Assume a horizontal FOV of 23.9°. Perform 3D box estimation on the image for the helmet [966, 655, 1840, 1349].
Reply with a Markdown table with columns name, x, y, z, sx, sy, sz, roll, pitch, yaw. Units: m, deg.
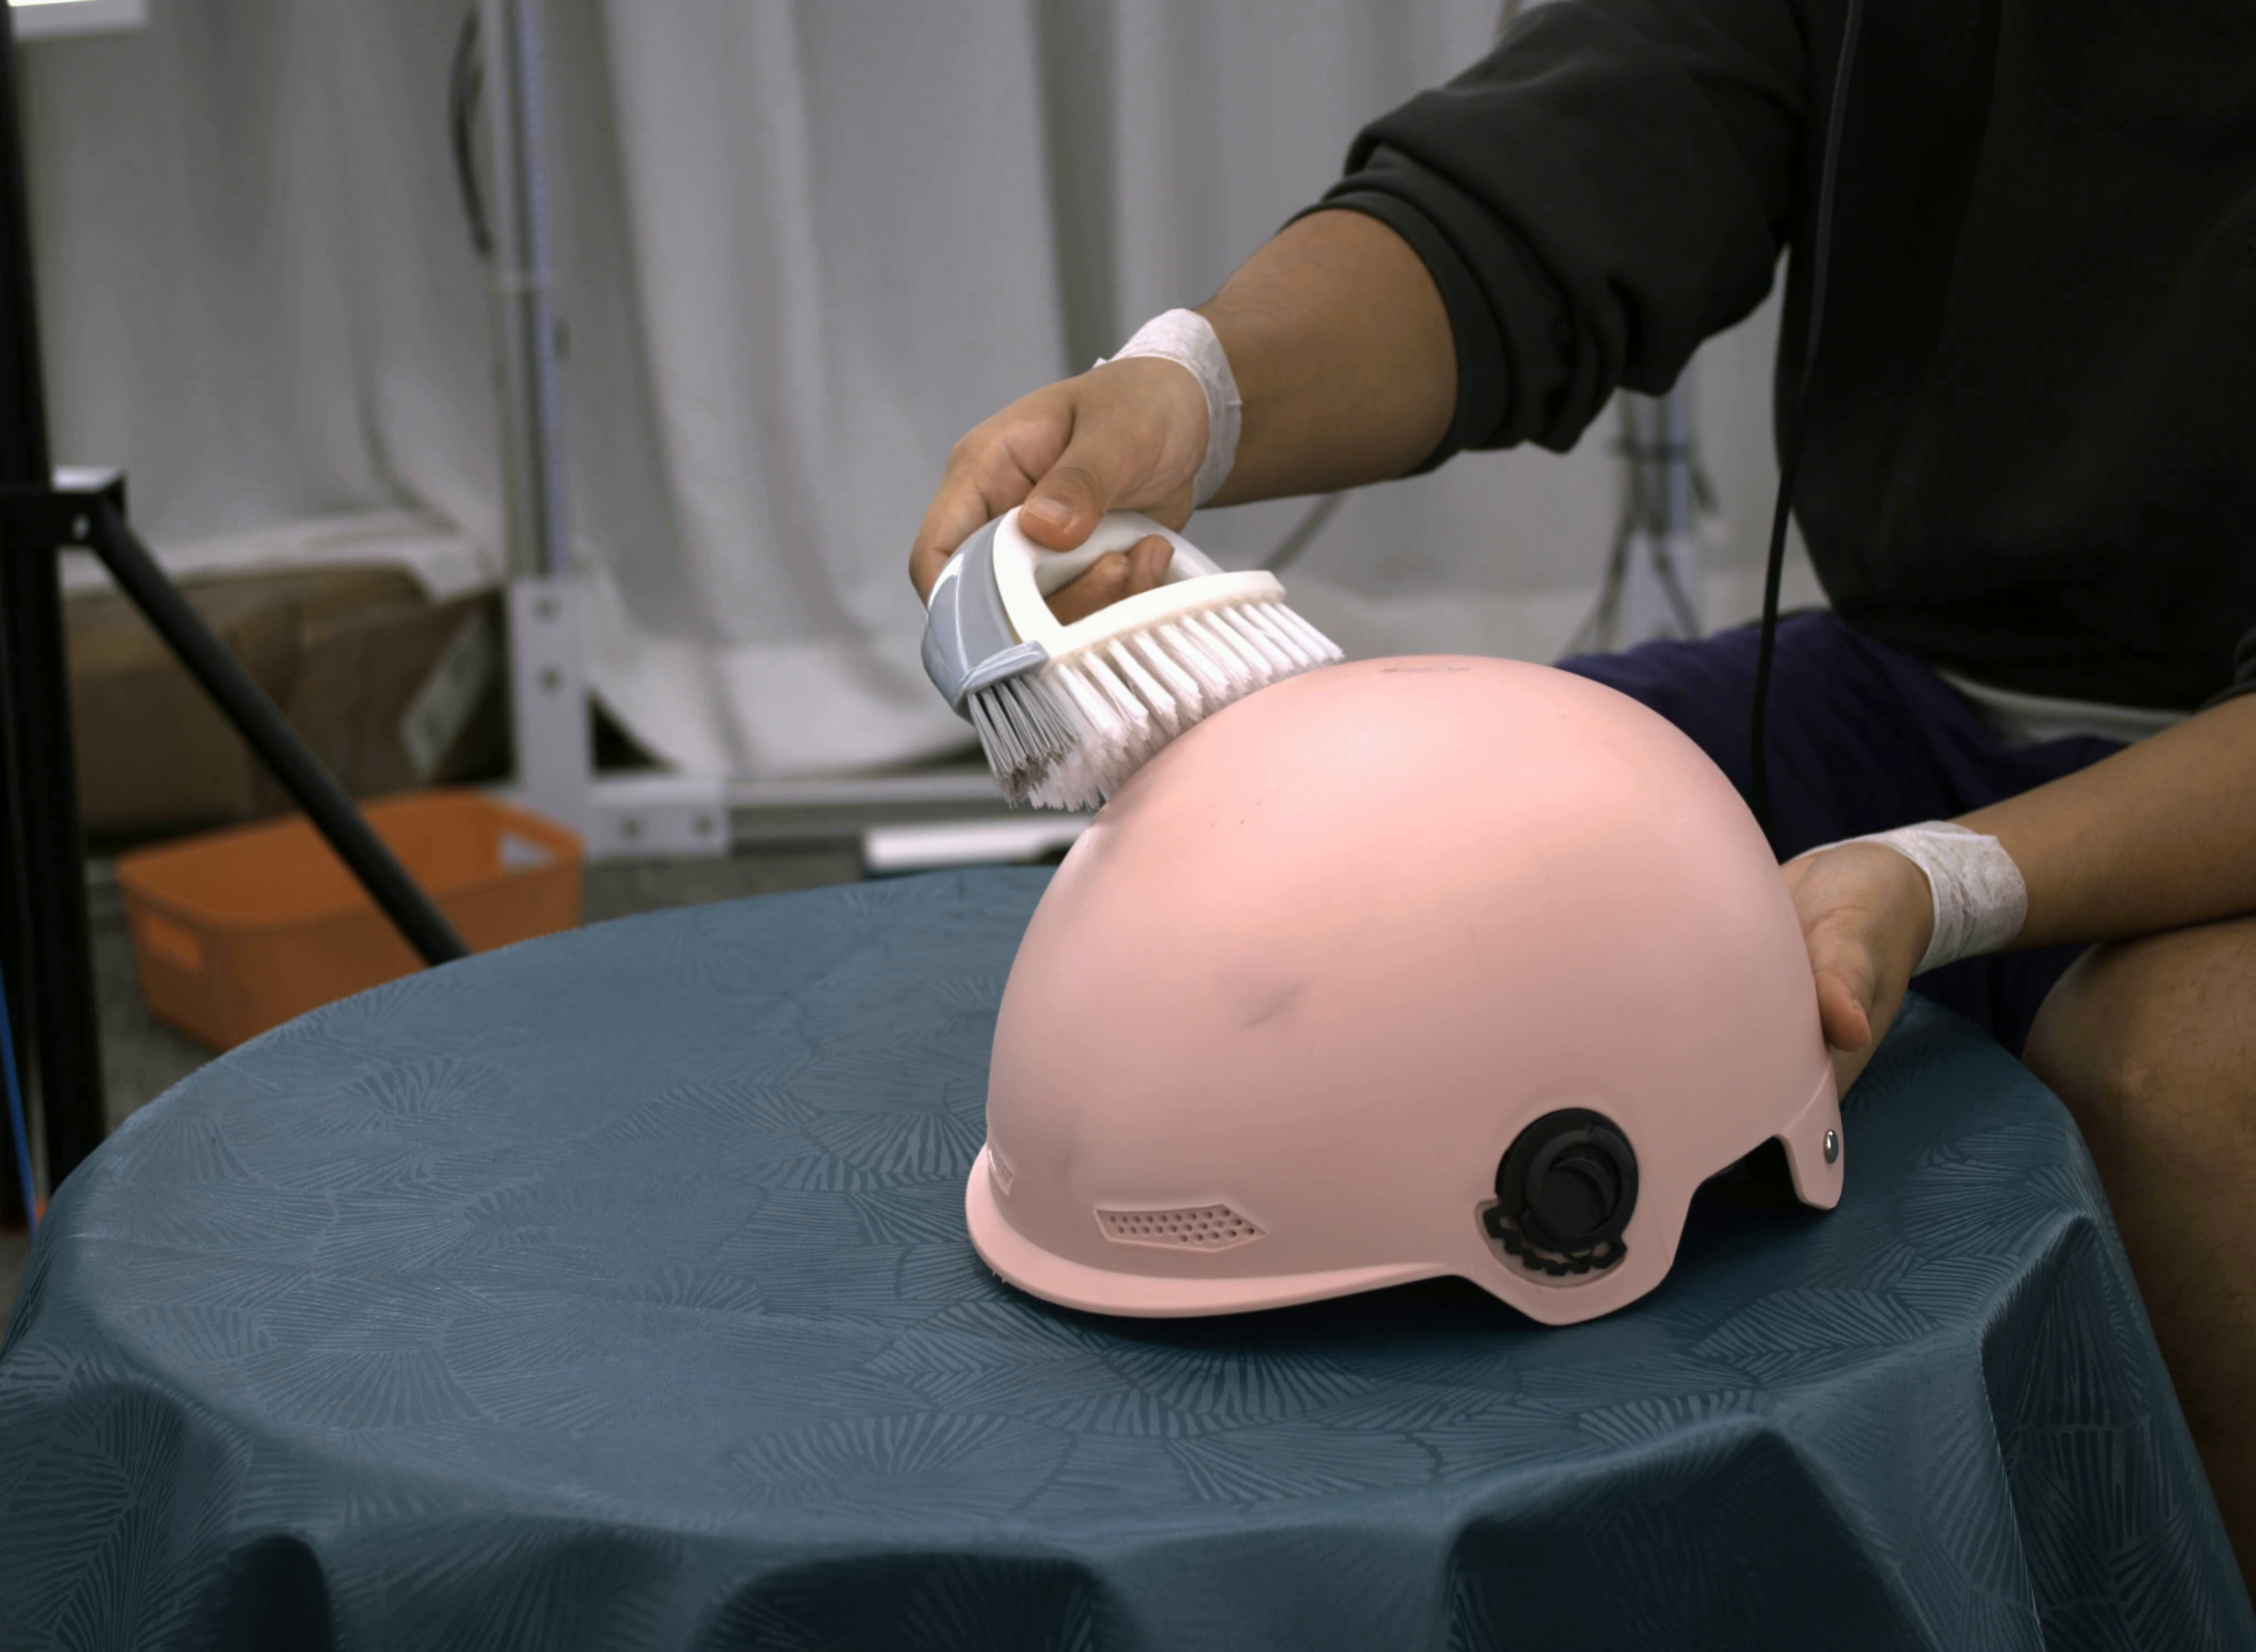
| name | x | y | z | sx | sy | sz | roll | pitch | yaw |
| --- | --- | --- | --- | --- | --- | --- | --- | --- | --- |
| helmet | 0.074 | 0.039 | 1.517 | 0.260 | 0.158 | 0.239 | -18 | 22 | -32 |

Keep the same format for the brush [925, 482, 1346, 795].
| name | x | y | z | sx | sy | sz | roll | pitch | yaw |
| --- | --- | --- | --- | --- | --- | --- | --- | --- | --- |
| brush | -0.012 | -0.059 | 1.558 | 0.095 | 0.062 | 0.172 | 48 | 29 | 13 |
